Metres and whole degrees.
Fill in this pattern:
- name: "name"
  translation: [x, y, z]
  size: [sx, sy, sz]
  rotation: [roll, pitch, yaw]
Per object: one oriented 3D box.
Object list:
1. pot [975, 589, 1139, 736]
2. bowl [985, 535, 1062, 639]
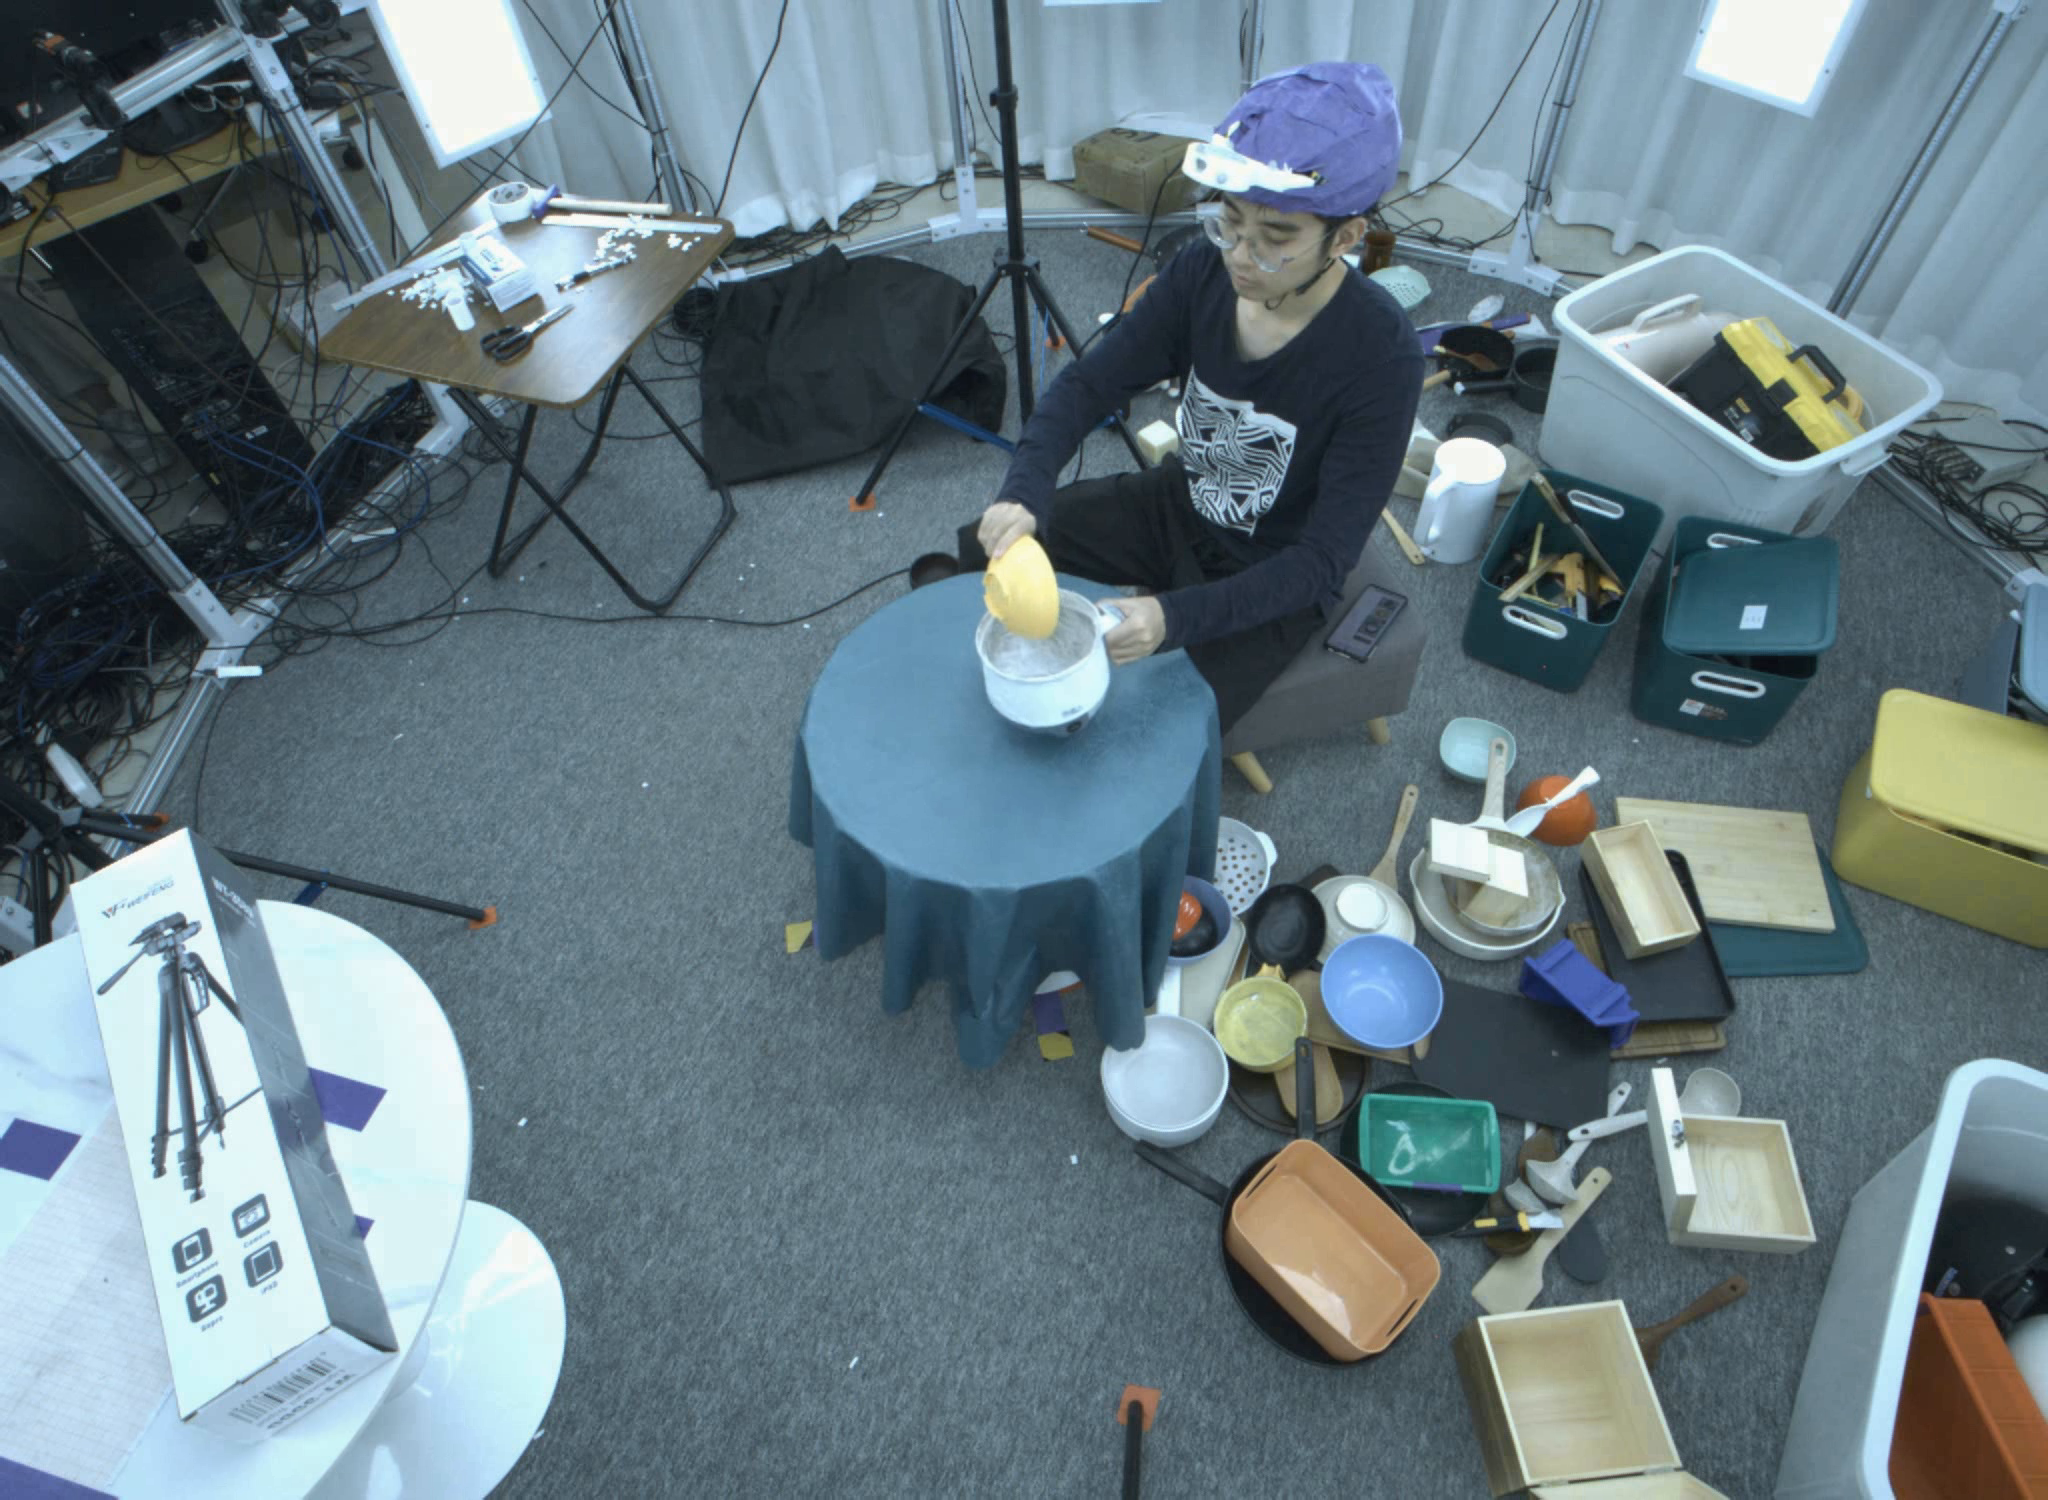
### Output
- name: "pot"
  translation: [0.053, -0.135, 1.752]
  size: [0.235, 0.138, 0.175]
  rotation: [-25, 56, -11]
- name: "bowl"
  translation: [-0.012, -0.213, 1.652]
  size: [0.061, 0.146, 0.142]
  rotation: [-20, 55, -27]
